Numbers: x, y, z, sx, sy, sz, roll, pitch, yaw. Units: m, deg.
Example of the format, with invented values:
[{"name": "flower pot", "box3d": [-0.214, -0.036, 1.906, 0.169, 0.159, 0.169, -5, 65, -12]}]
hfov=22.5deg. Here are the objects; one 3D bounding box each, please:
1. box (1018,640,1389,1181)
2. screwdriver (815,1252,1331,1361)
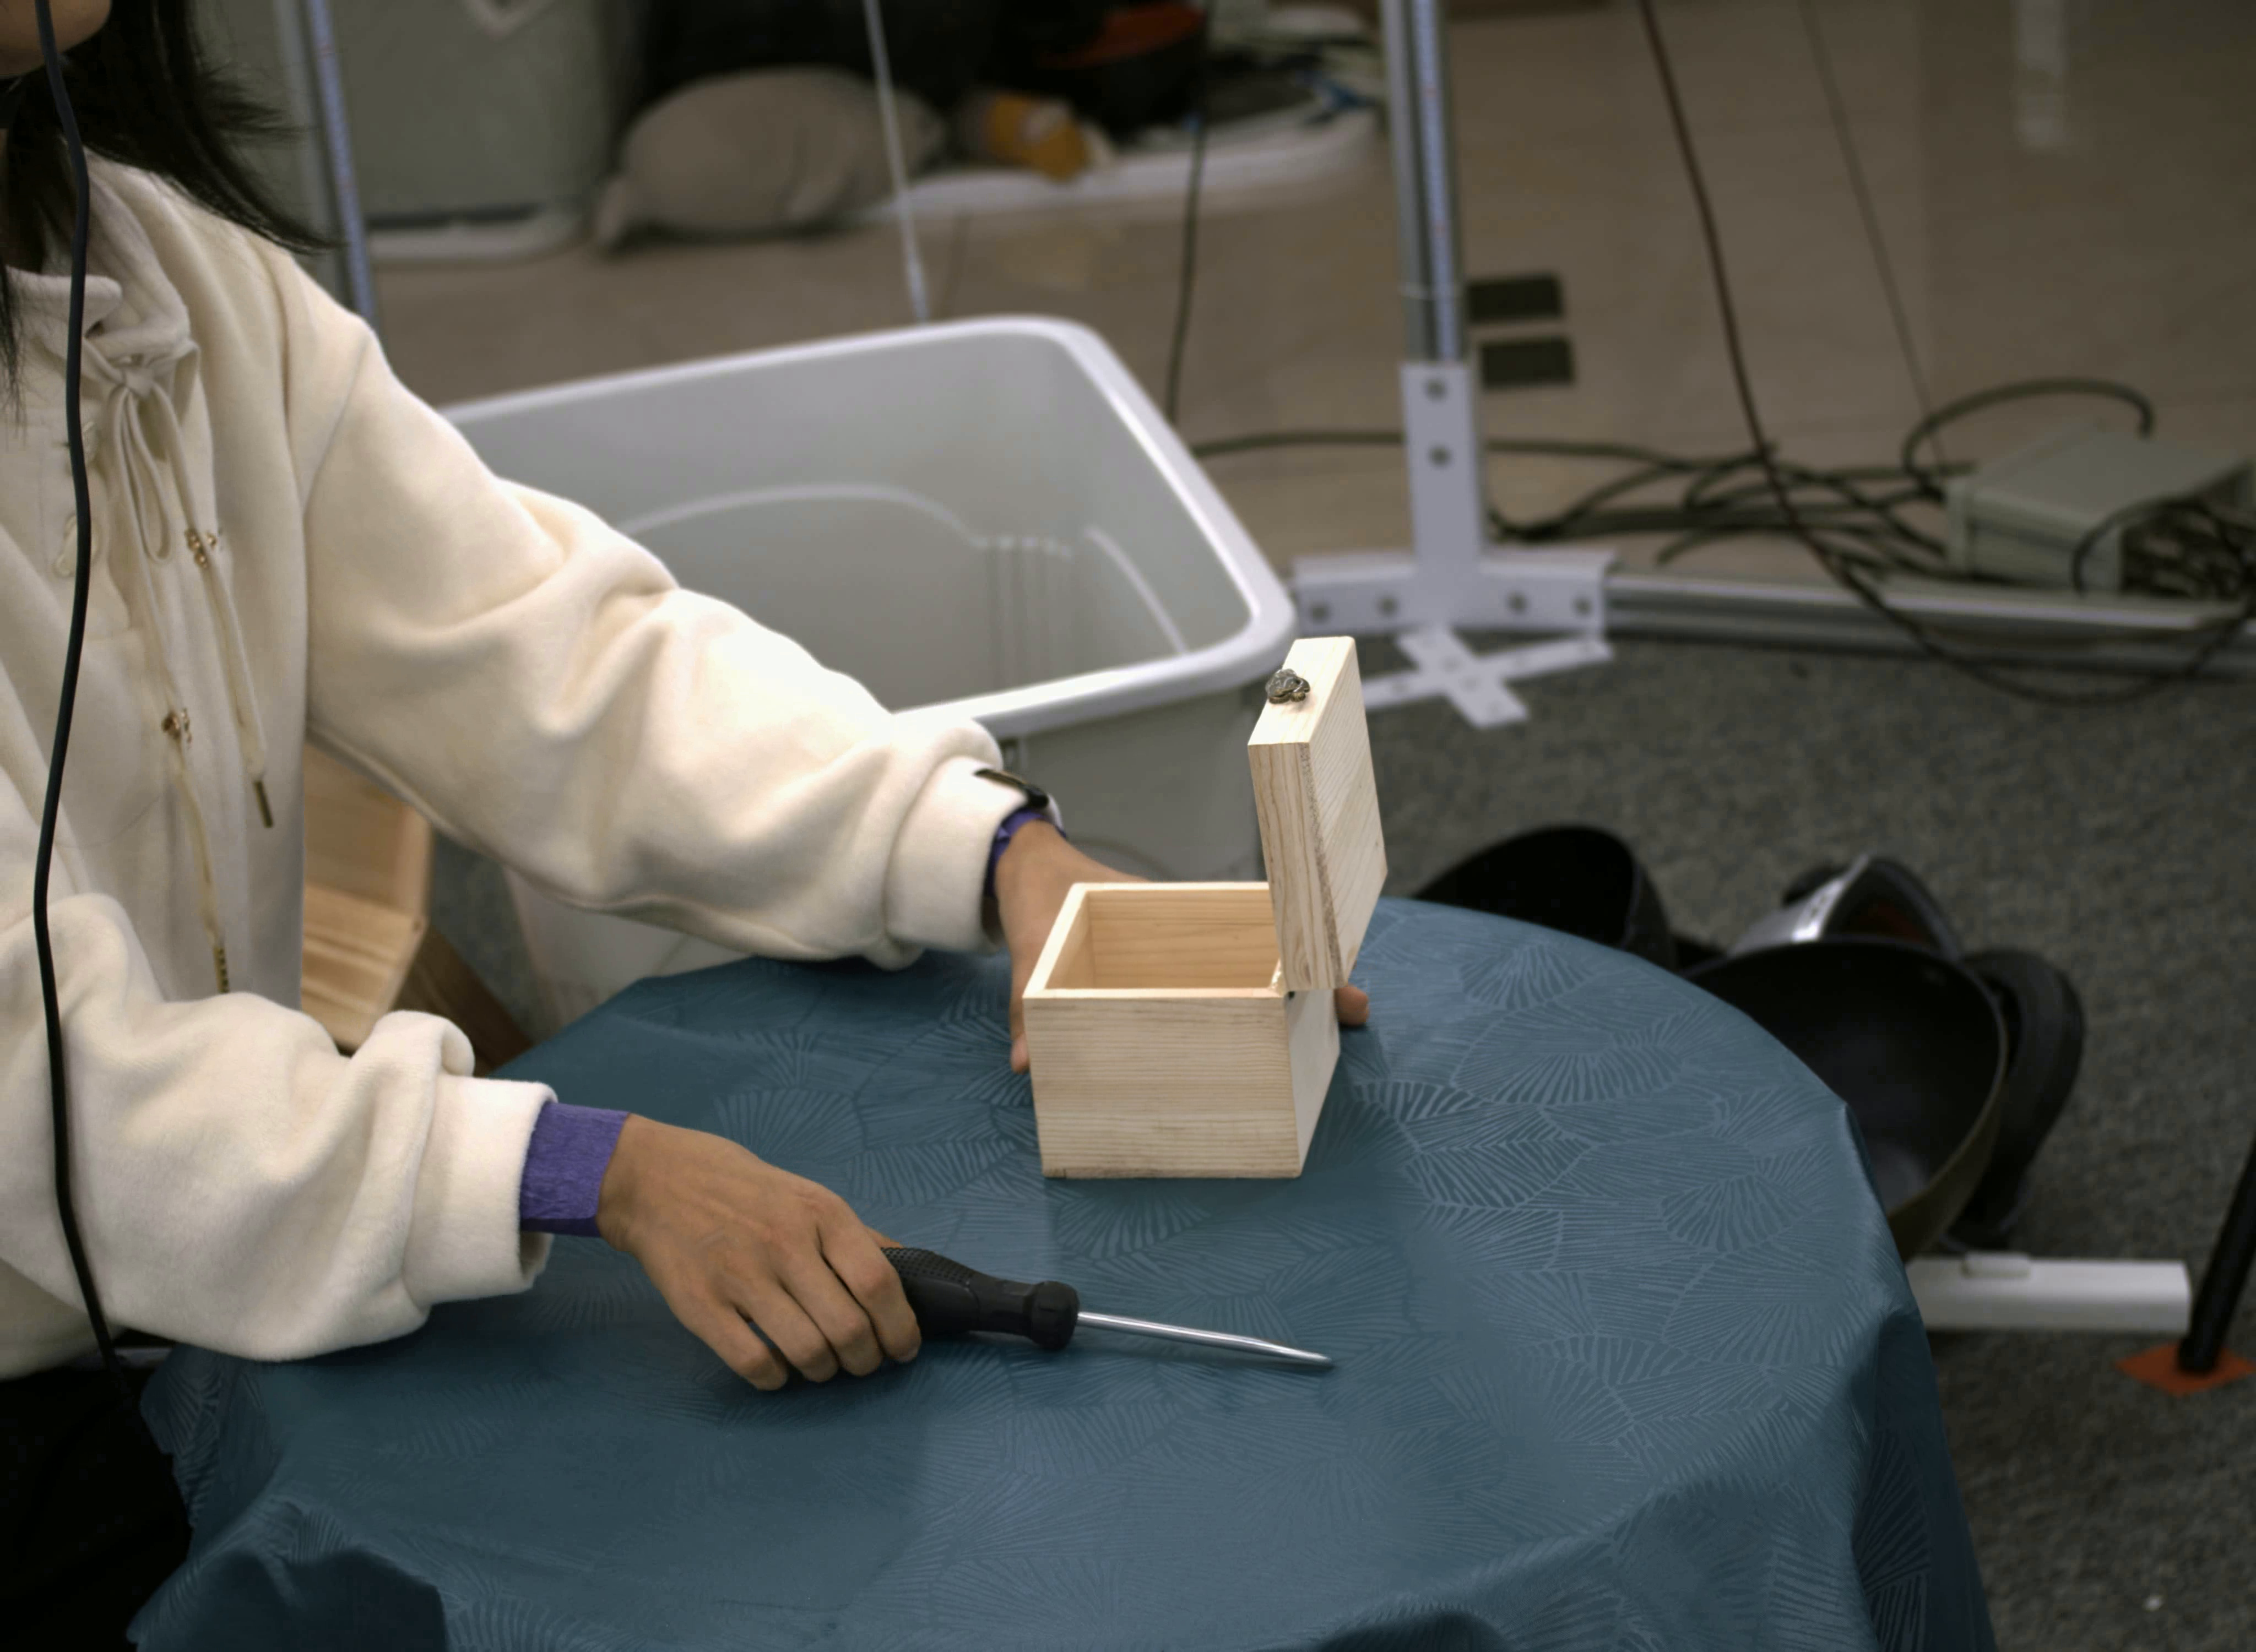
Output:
[{"name": "box", "box3d": [0.026, 0.030, 2.155, 0.133, 0.187, 0.101, 1, 28, 13]}, {"name": "screwdriver", "box3d": [-0.022, 0.179, 2.042, 0.197, 0.032, 0.031, 7, 28, 23]}]
